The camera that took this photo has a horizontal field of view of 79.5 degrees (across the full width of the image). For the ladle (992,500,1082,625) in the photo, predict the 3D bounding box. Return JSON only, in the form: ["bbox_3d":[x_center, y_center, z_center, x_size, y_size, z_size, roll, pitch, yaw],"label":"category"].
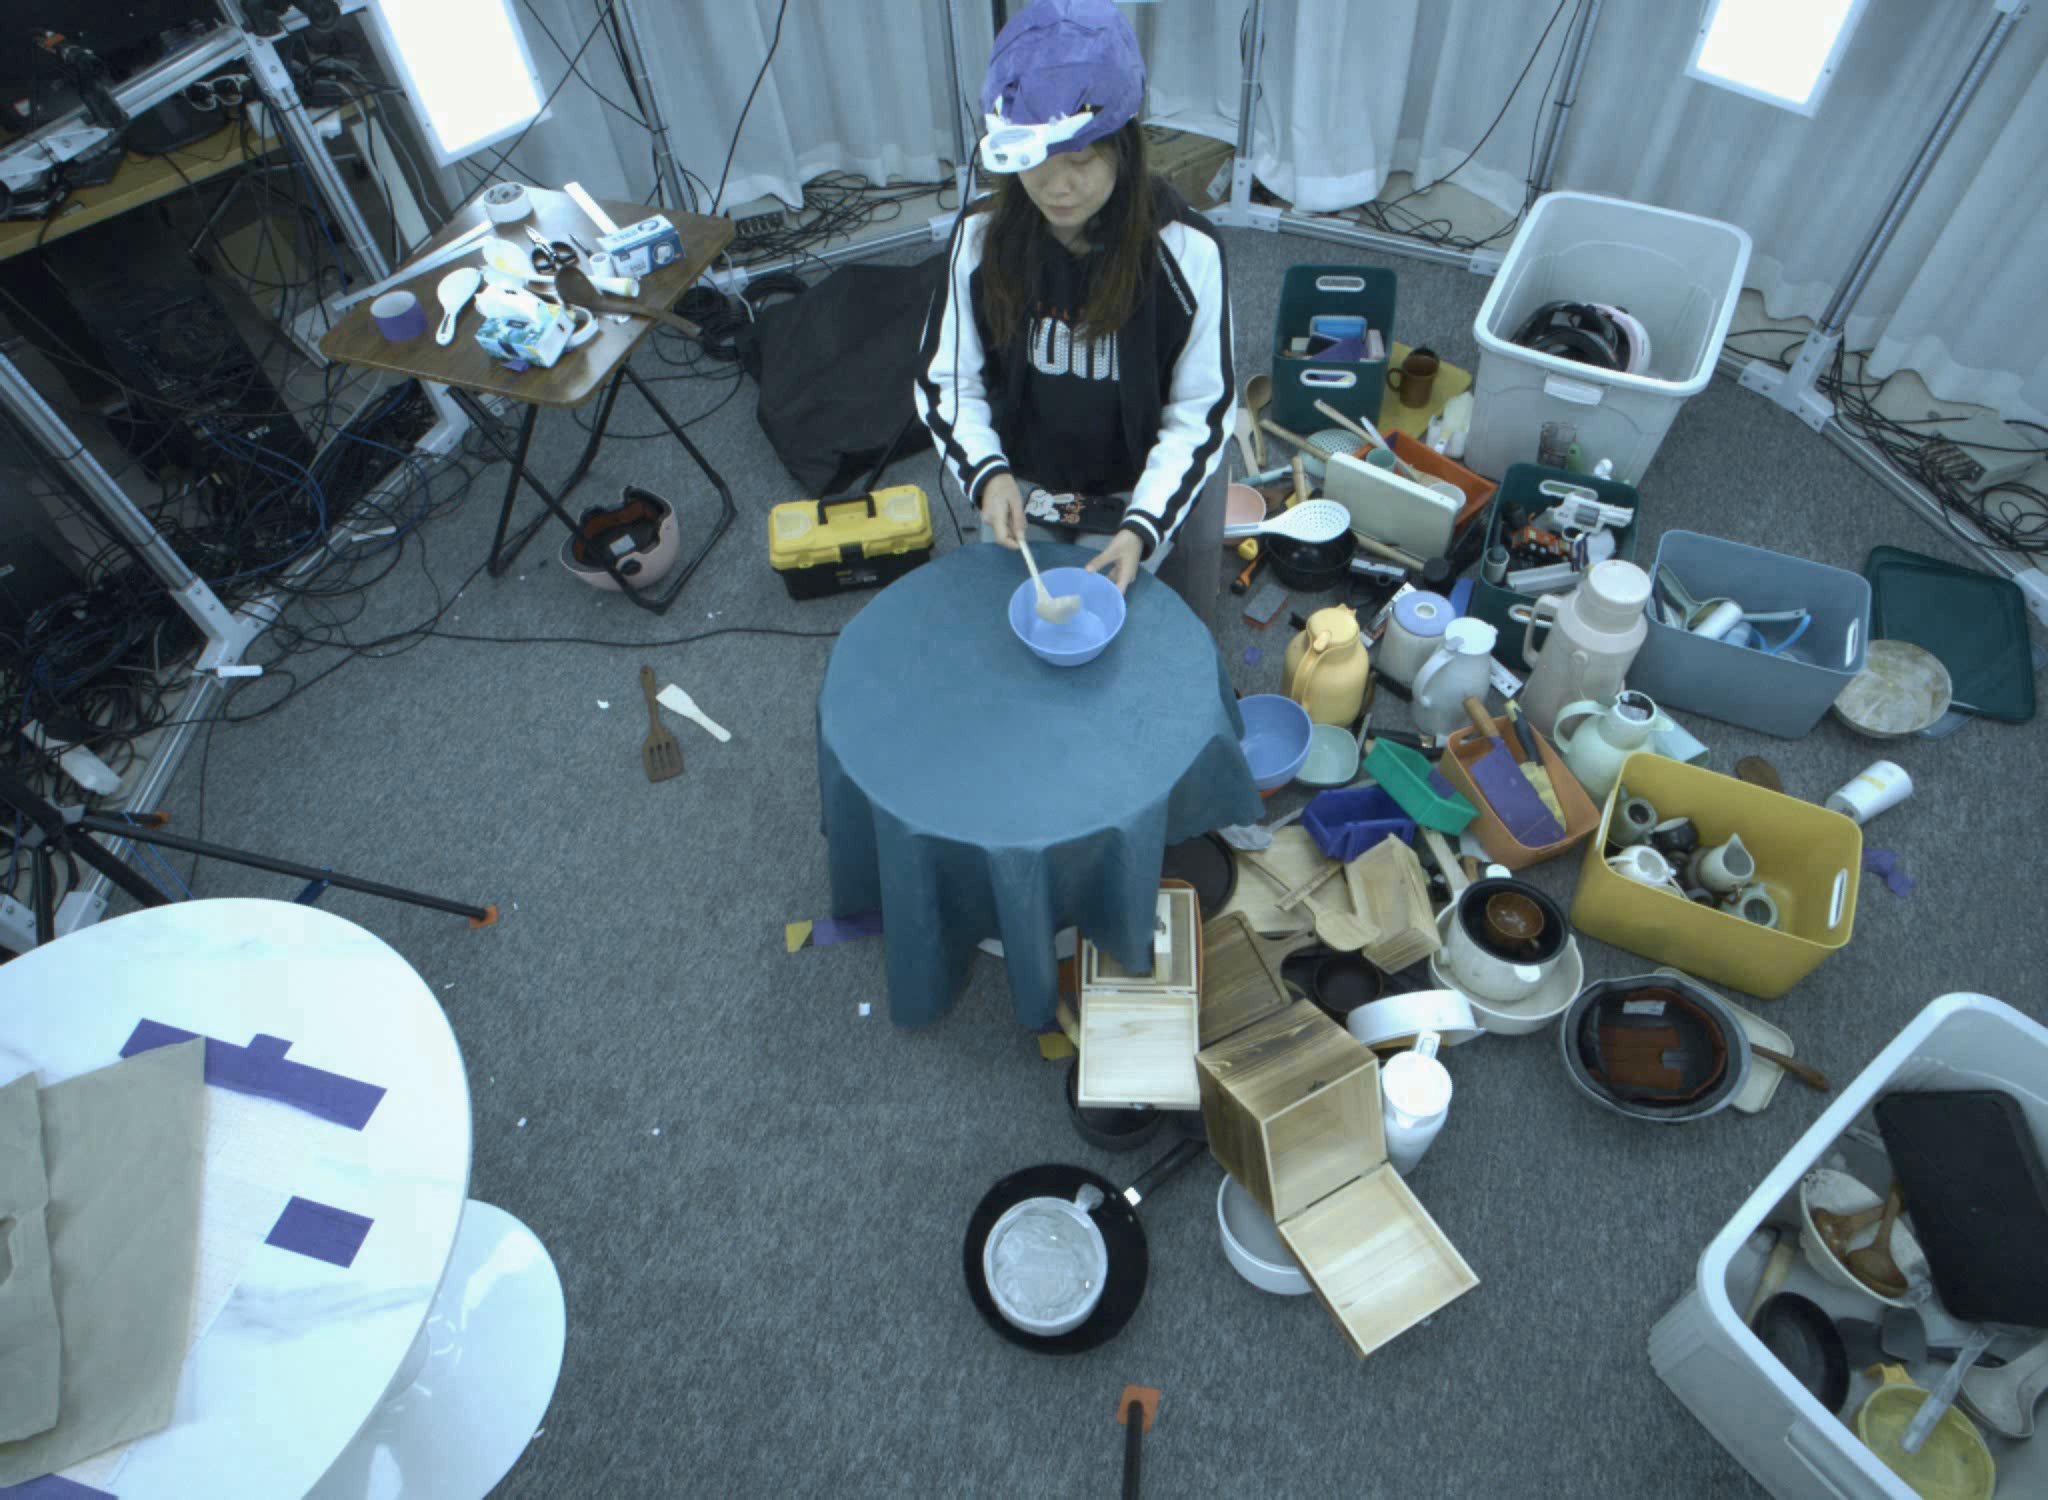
[{"bbox_3d":[0.013,-0.303,1.855,0.073,0.072,0.251,-14,68,-28],"label":"ladle"}]

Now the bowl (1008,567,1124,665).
[{"bbox_3d":[0.064,-0.195,1.881,0.176,0.071,0.174,0,55,1],"label":"bowl"}]
